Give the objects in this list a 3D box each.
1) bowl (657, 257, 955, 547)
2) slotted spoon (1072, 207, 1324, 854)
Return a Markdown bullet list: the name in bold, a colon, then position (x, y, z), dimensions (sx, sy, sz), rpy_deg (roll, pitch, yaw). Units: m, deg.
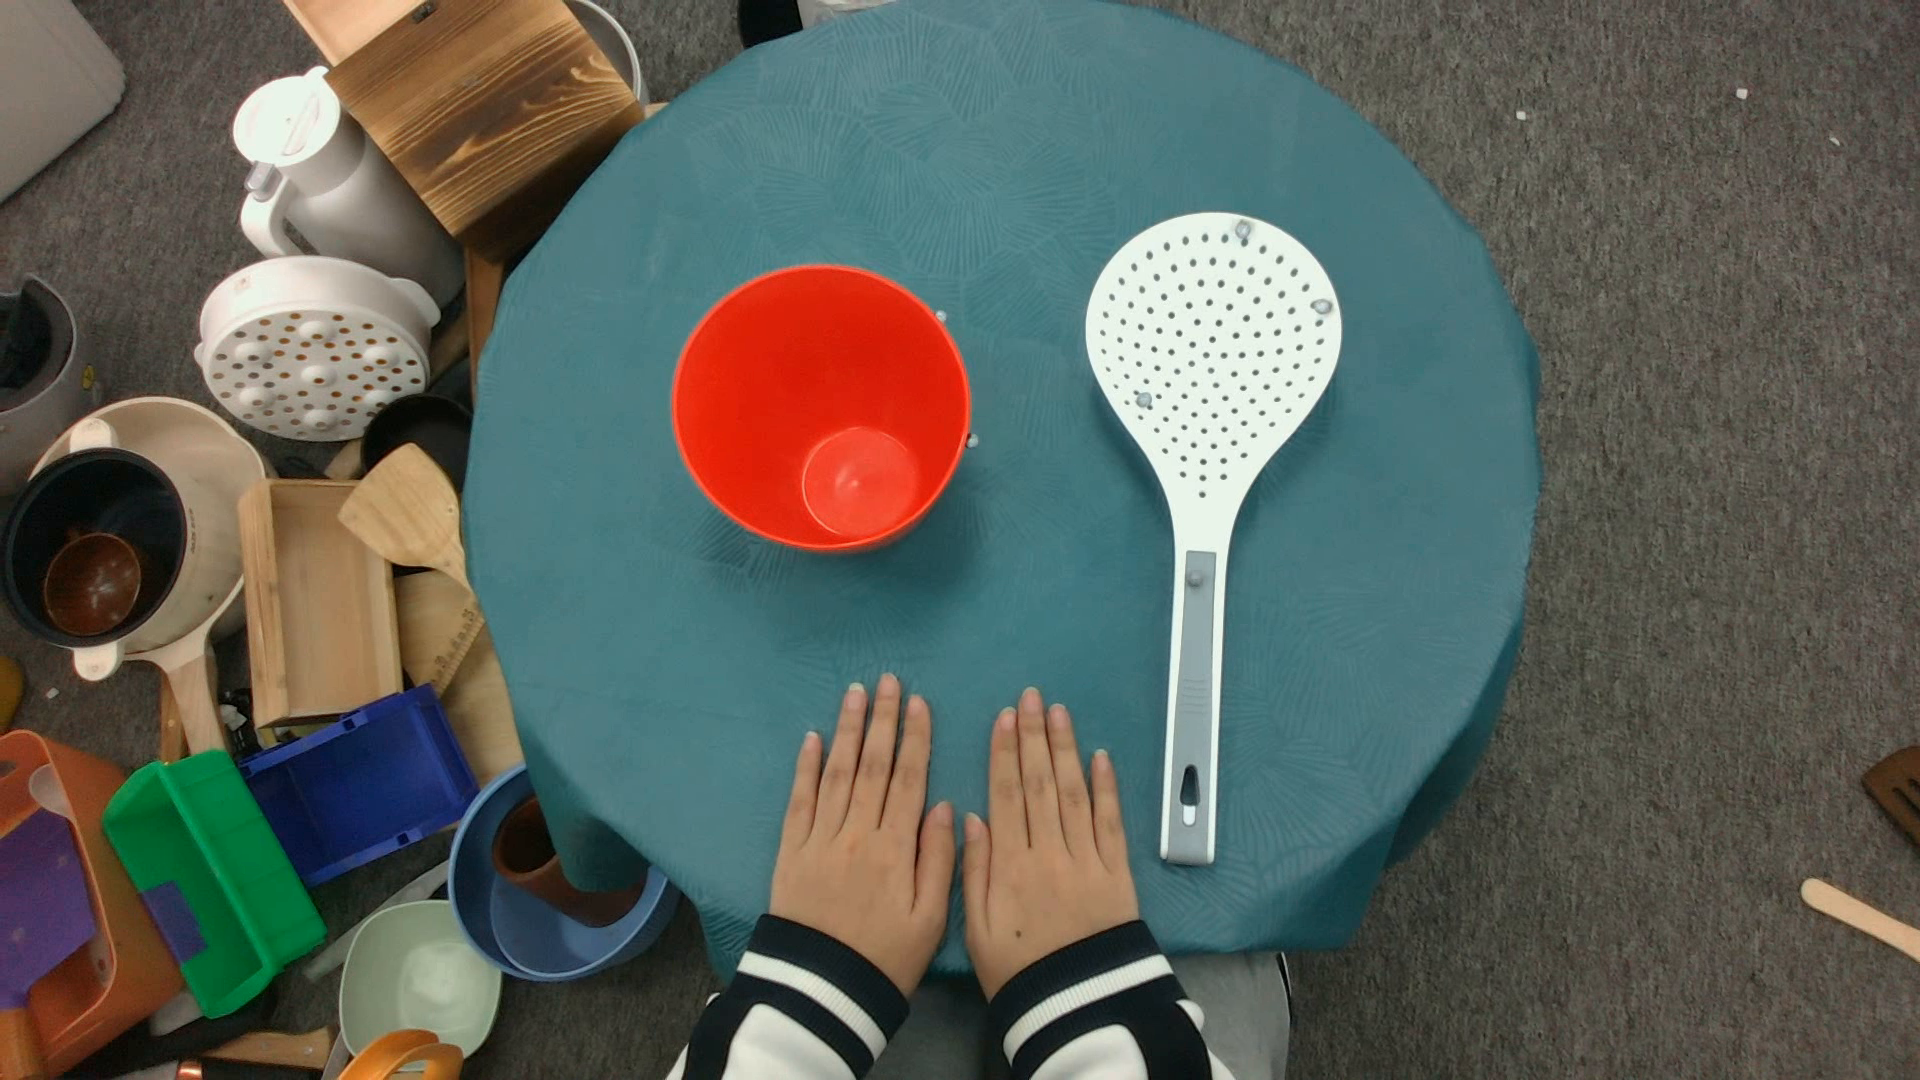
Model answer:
- **bowl**: position (-0.075, -0.059, 0.724), dimensions (0.148, 0.104, 0.148), rpy_deg (0, 70, 0)
- **slotted spoon**: position (0.119, -0.014, 0.728), dimensions (0.136, 0.045, 0.351), rpy_deg (4, 71, 6)
